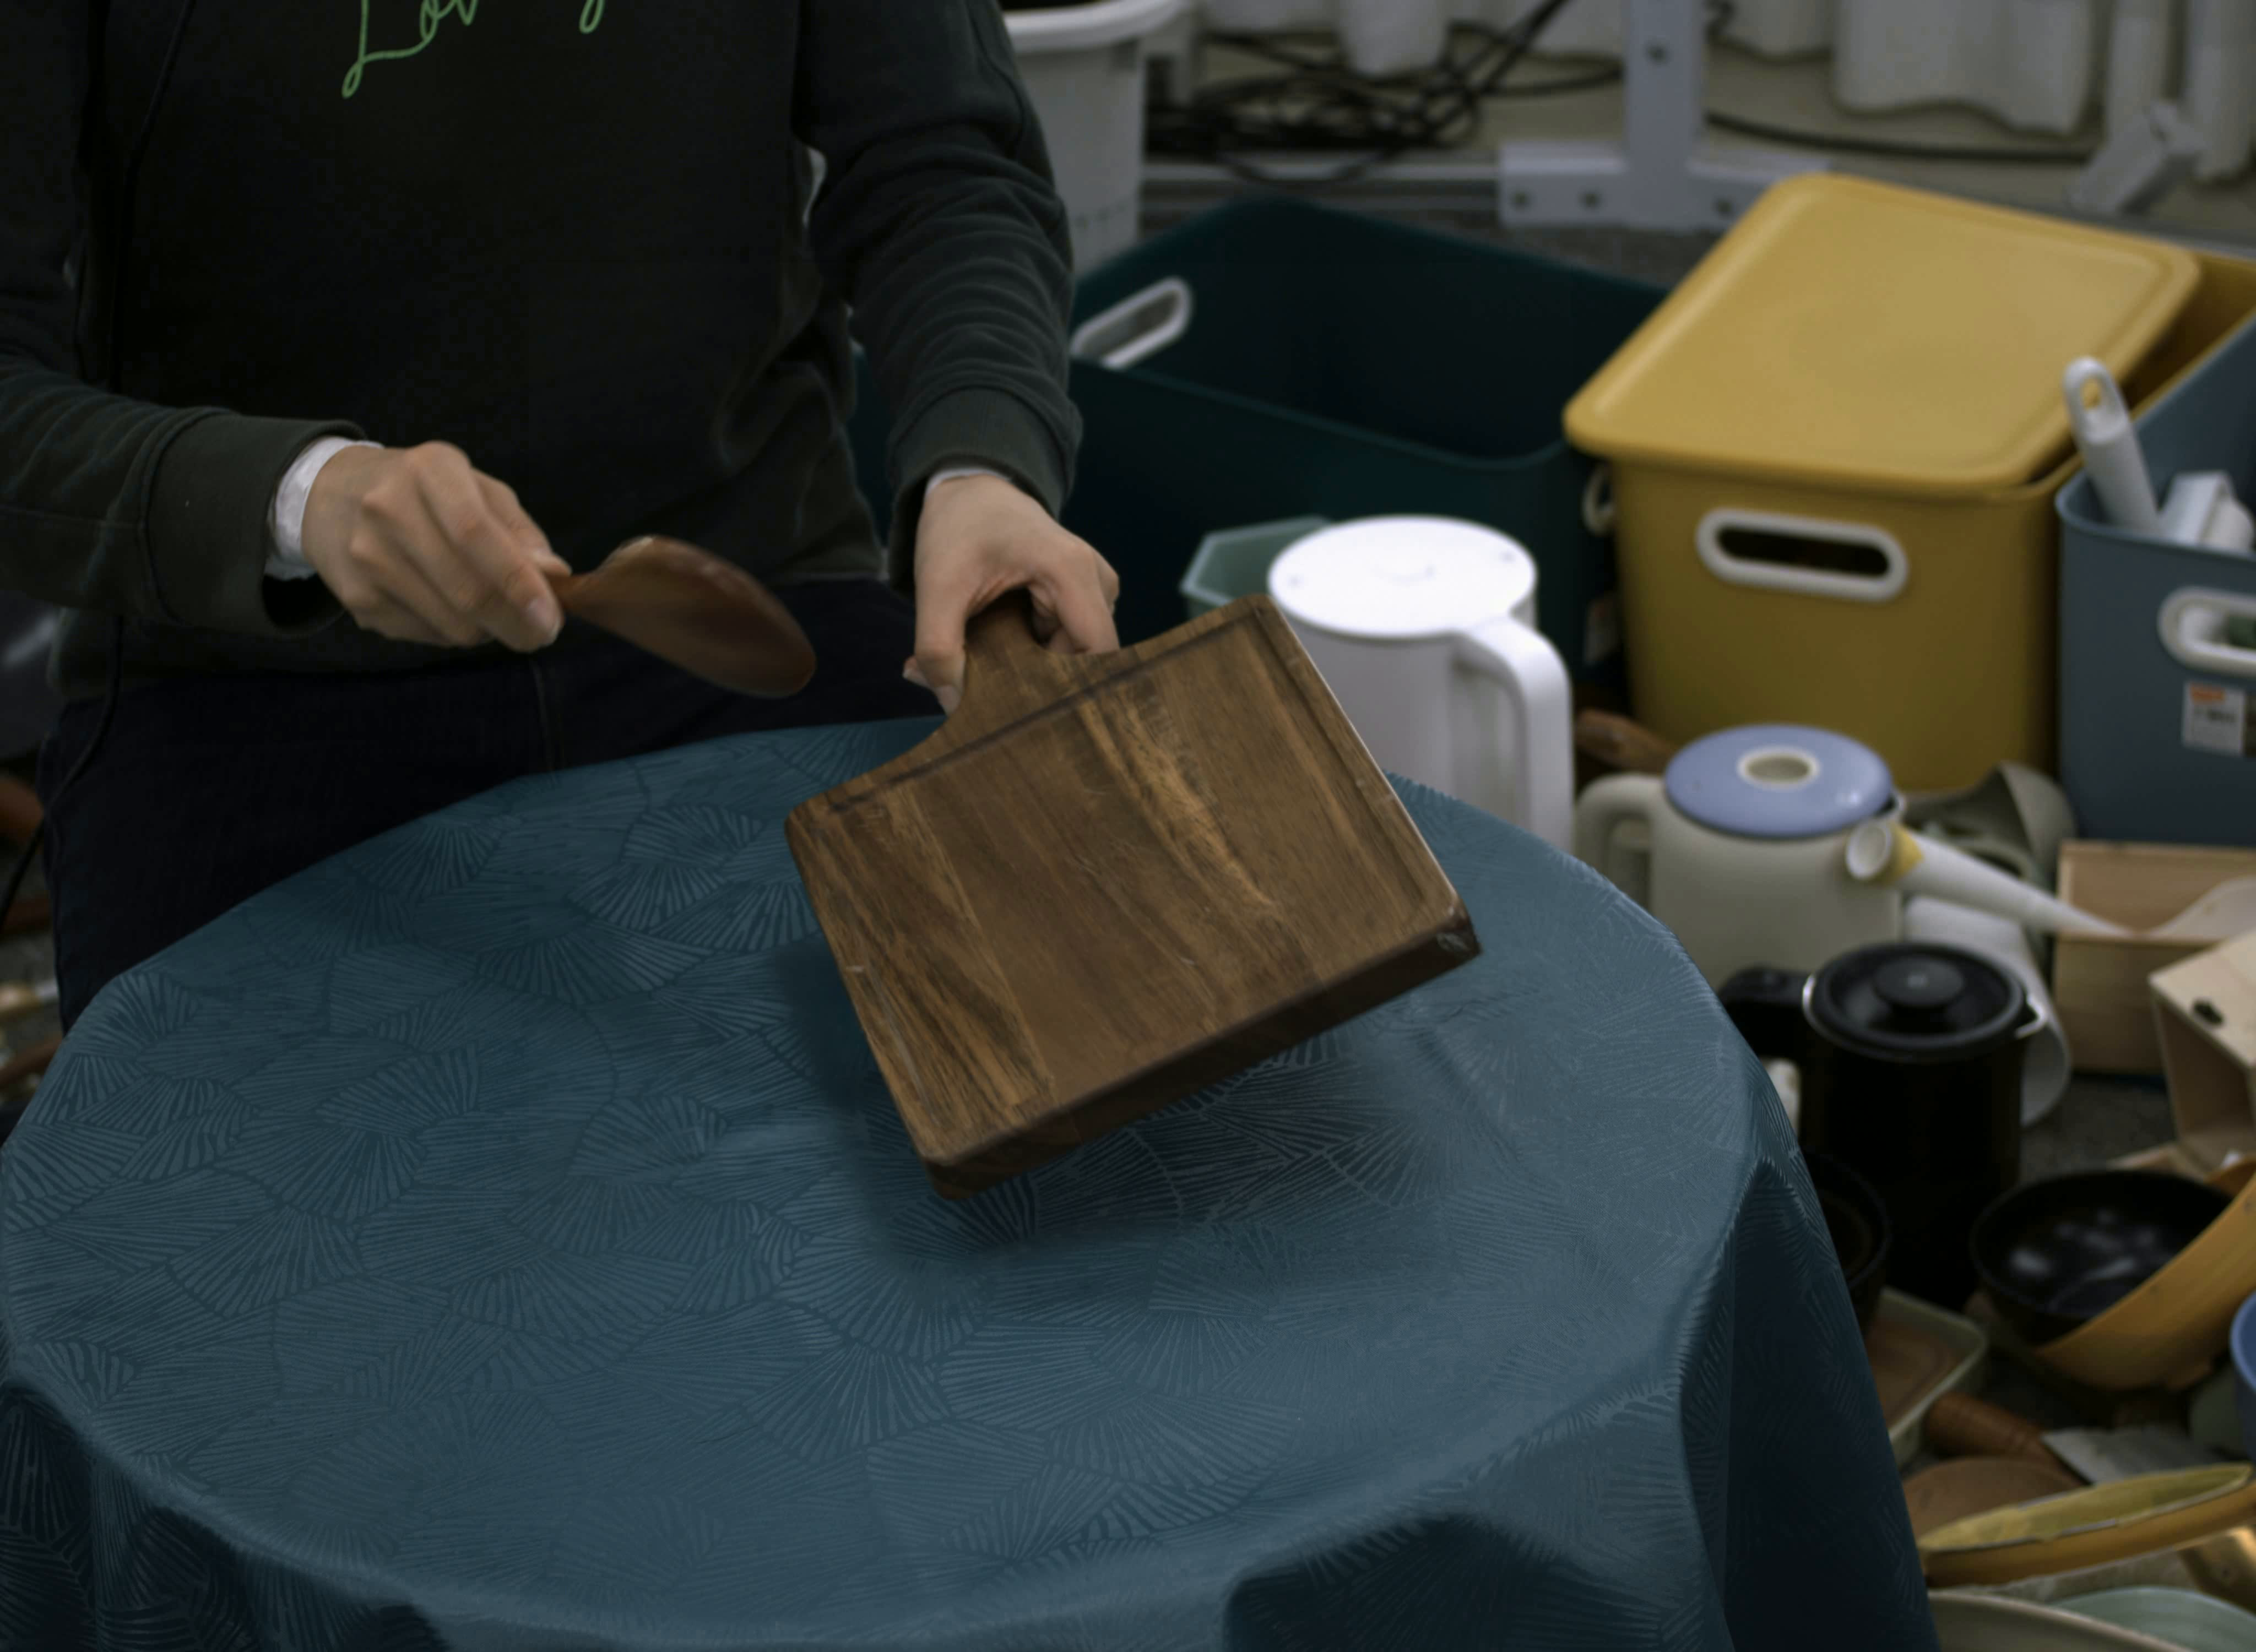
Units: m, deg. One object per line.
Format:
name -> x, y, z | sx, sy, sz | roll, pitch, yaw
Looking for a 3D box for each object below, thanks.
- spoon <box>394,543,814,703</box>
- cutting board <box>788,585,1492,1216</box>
spoon -> -0.185, -0.073, 1.928 | 0.215, 0.075, 0.017 | 13, 64, 48
cutting board -> -0.014, 0.000, 1.956 | 0.201, 0.023, 0.356 | -25, 31, -2
